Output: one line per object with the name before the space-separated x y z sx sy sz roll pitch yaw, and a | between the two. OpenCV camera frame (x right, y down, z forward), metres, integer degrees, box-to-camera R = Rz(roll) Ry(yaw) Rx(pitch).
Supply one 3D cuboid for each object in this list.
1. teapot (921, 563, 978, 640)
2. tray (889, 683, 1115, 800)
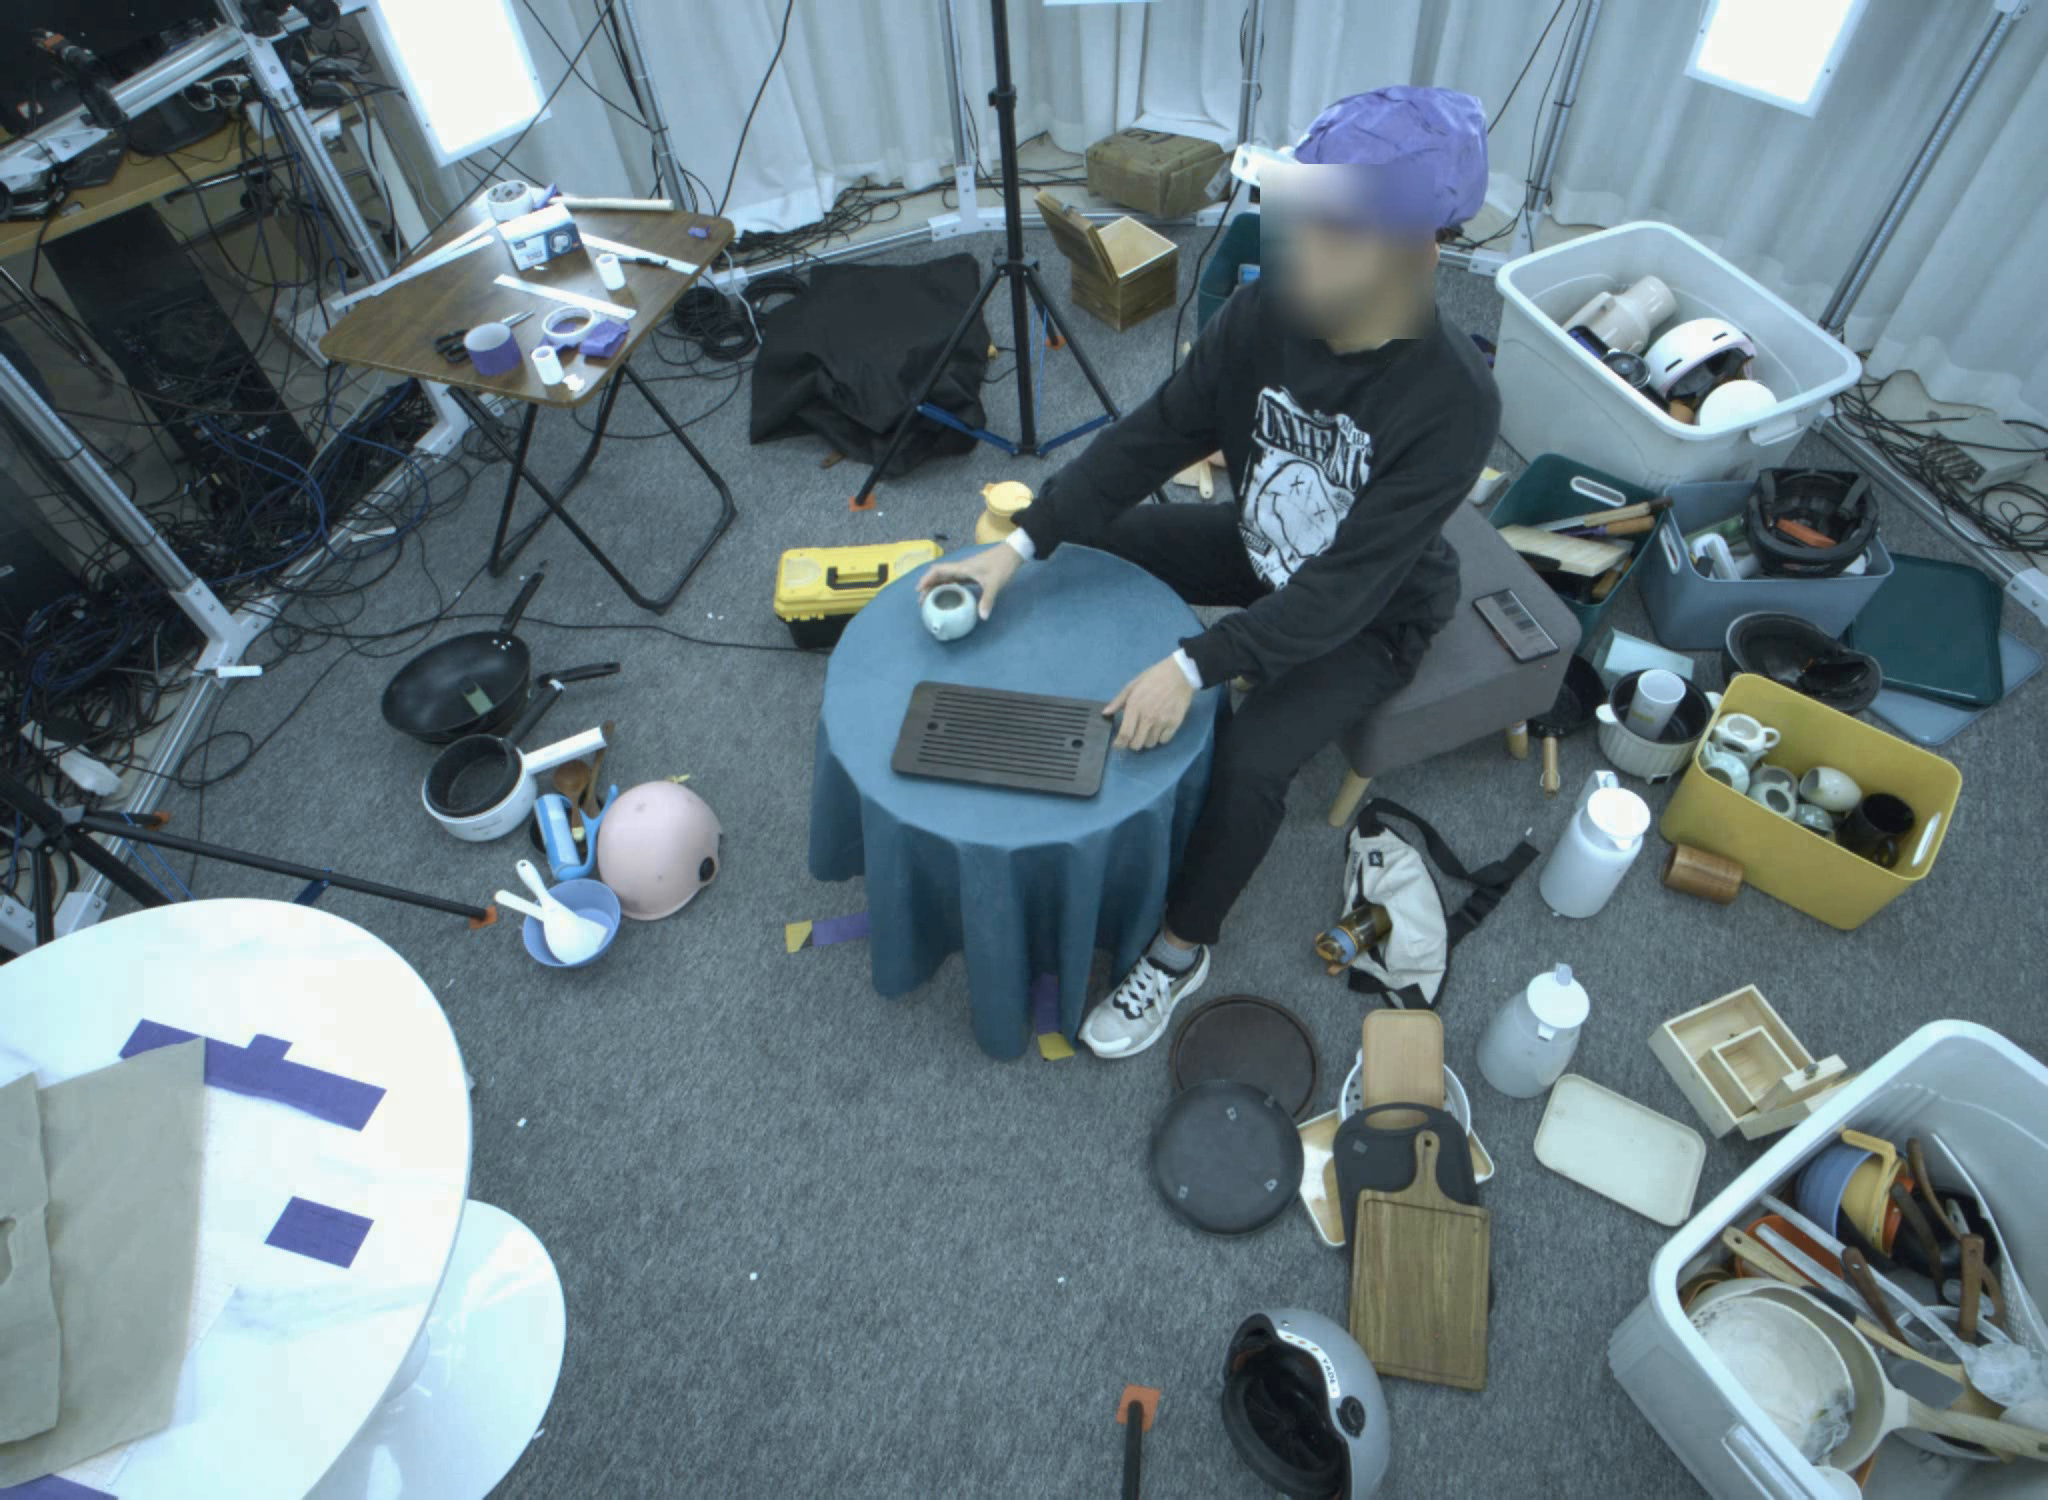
teapot | -0.116 -0.216 1.896 0.087 0.075 0.143 11 58 11
tray | -0.030 -0.013 1.782 0.304 0.019 0.169 8 55 7
